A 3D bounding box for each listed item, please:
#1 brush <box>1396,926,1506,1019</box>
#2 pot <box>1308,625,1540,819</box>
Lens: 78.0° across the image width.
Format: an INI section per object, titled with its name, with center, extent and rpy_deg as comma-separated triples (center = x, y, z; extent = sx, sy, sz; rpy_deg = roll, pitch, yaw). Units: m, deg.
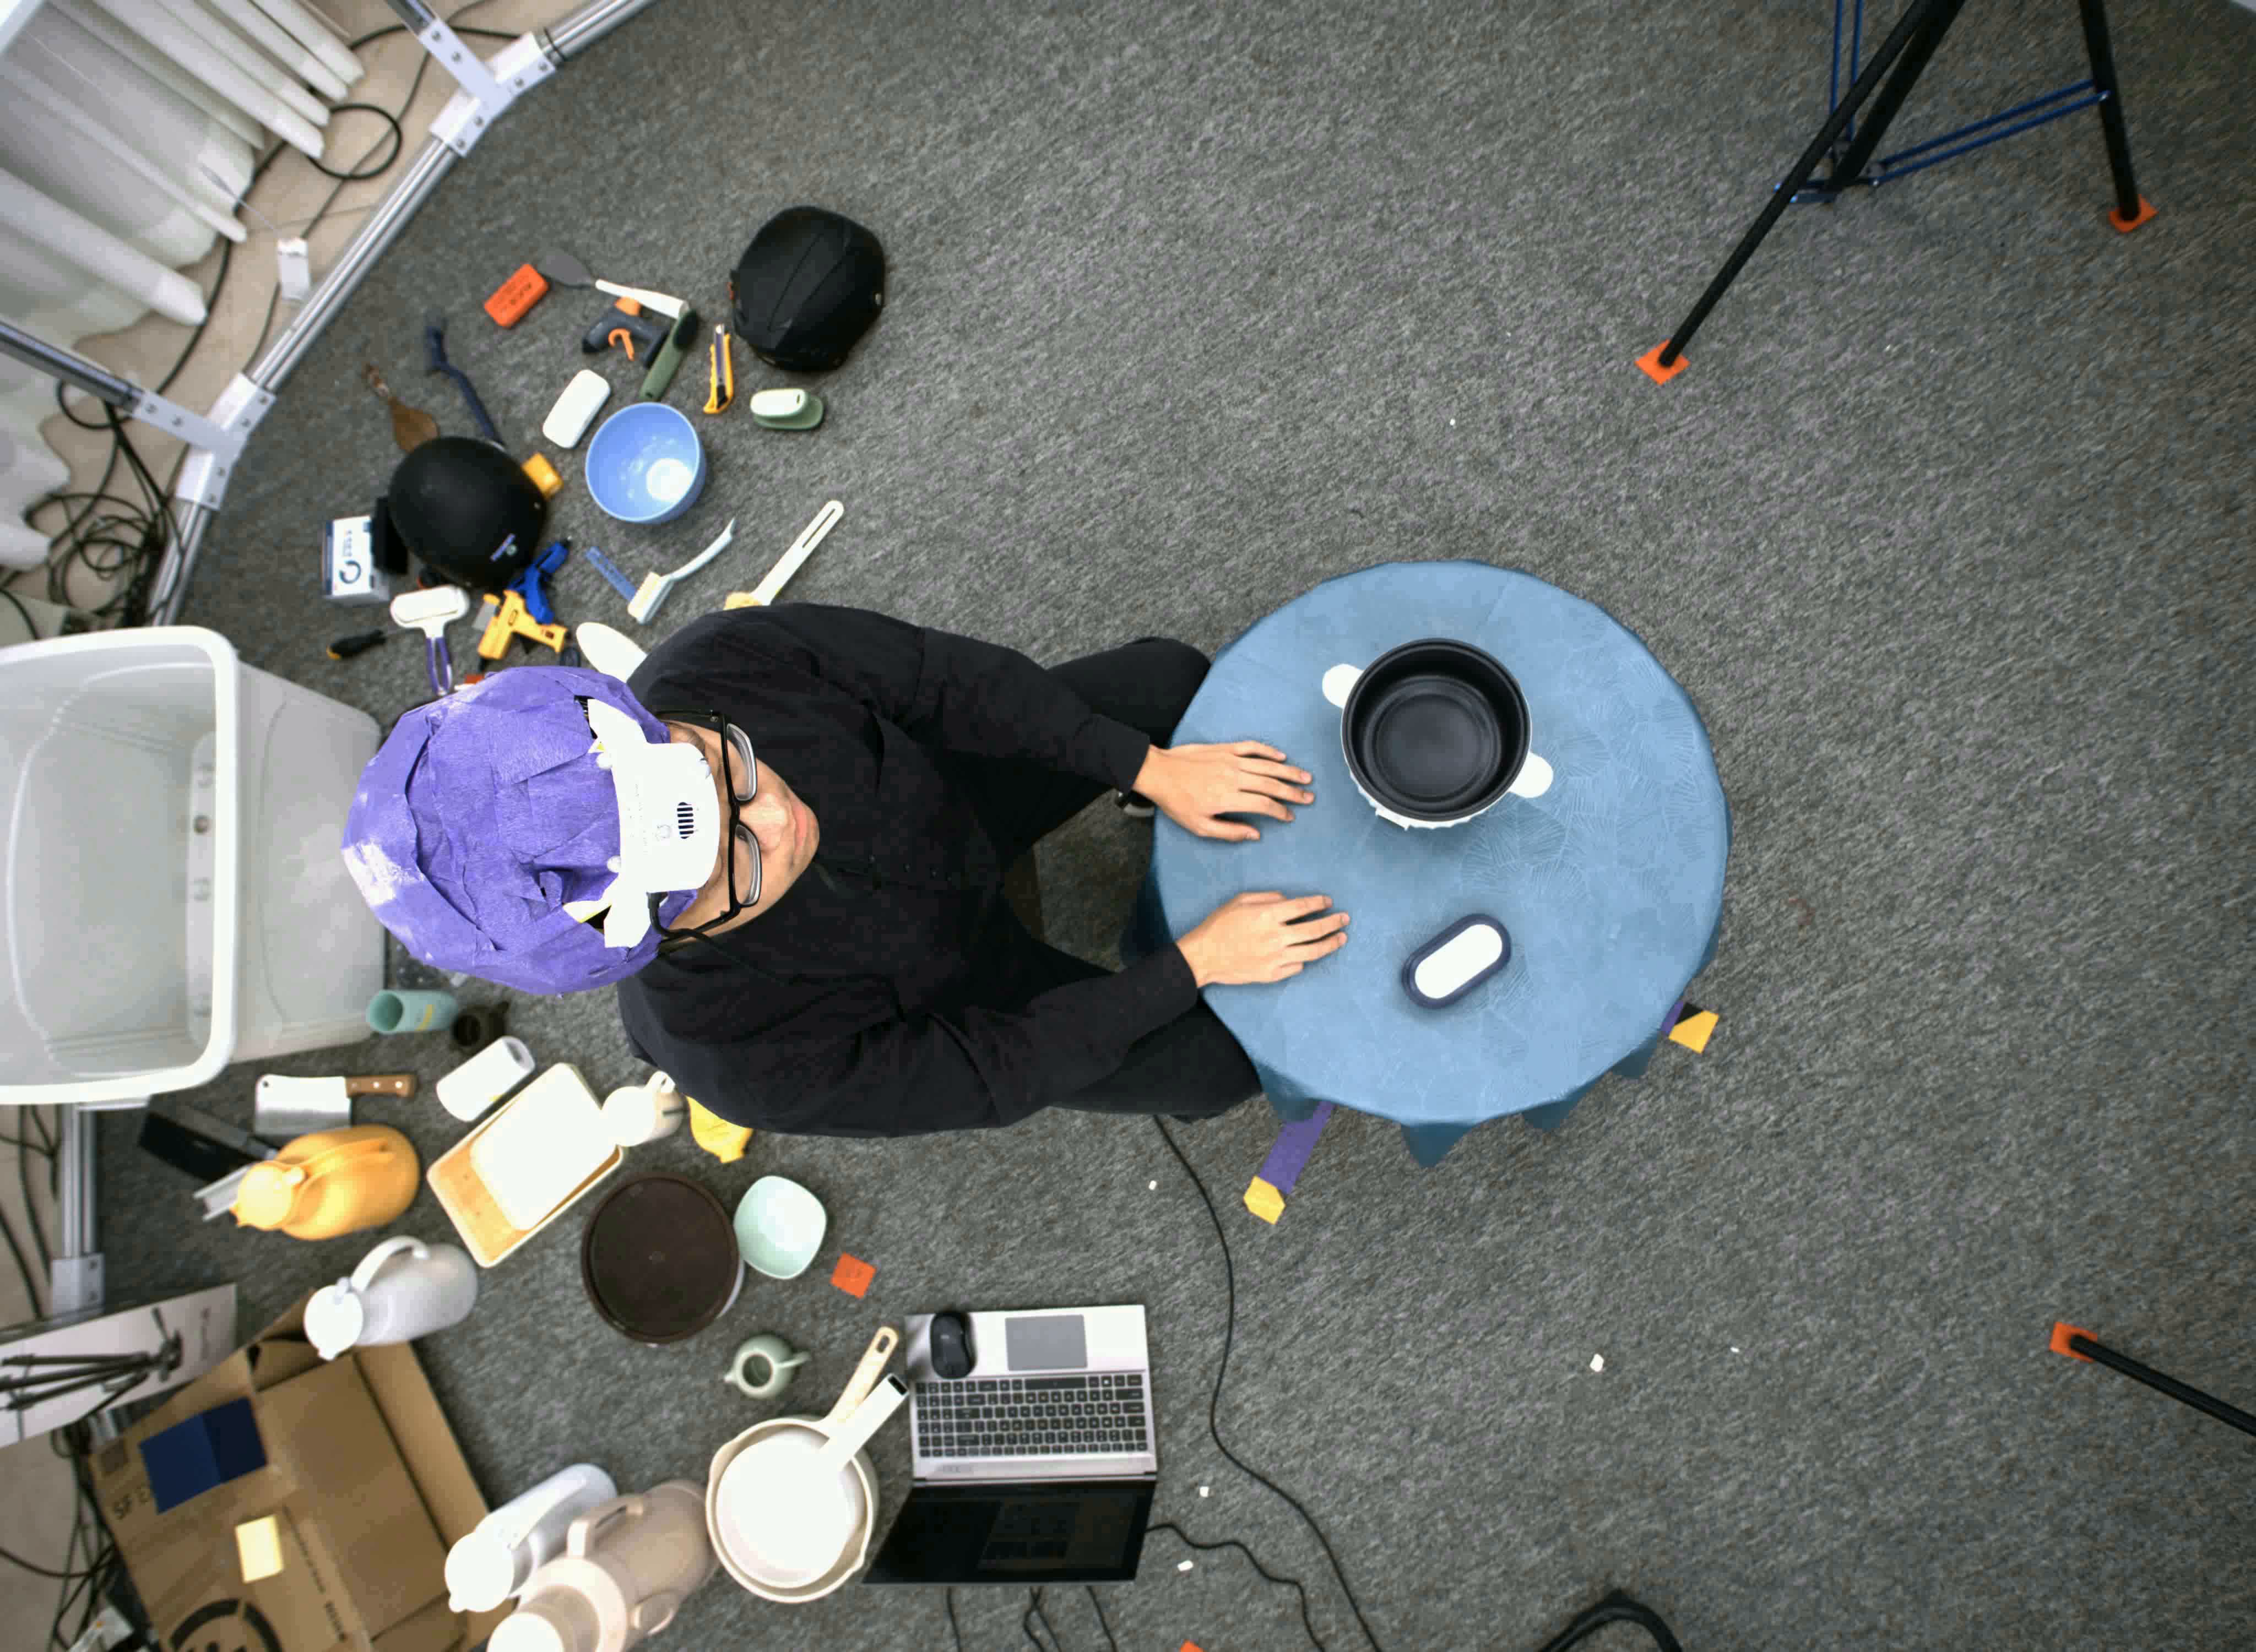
[brush]
center = 0.333, 0.149, 1.418
extent = 0.122, 0.061, 0.067
rpy_deg = -31, 83, 4
[pot]
center = 0.296, -0.106, 1.387
extent = 0.240, 0.142, 0.191
rpy_deg = 26, 93, 9
